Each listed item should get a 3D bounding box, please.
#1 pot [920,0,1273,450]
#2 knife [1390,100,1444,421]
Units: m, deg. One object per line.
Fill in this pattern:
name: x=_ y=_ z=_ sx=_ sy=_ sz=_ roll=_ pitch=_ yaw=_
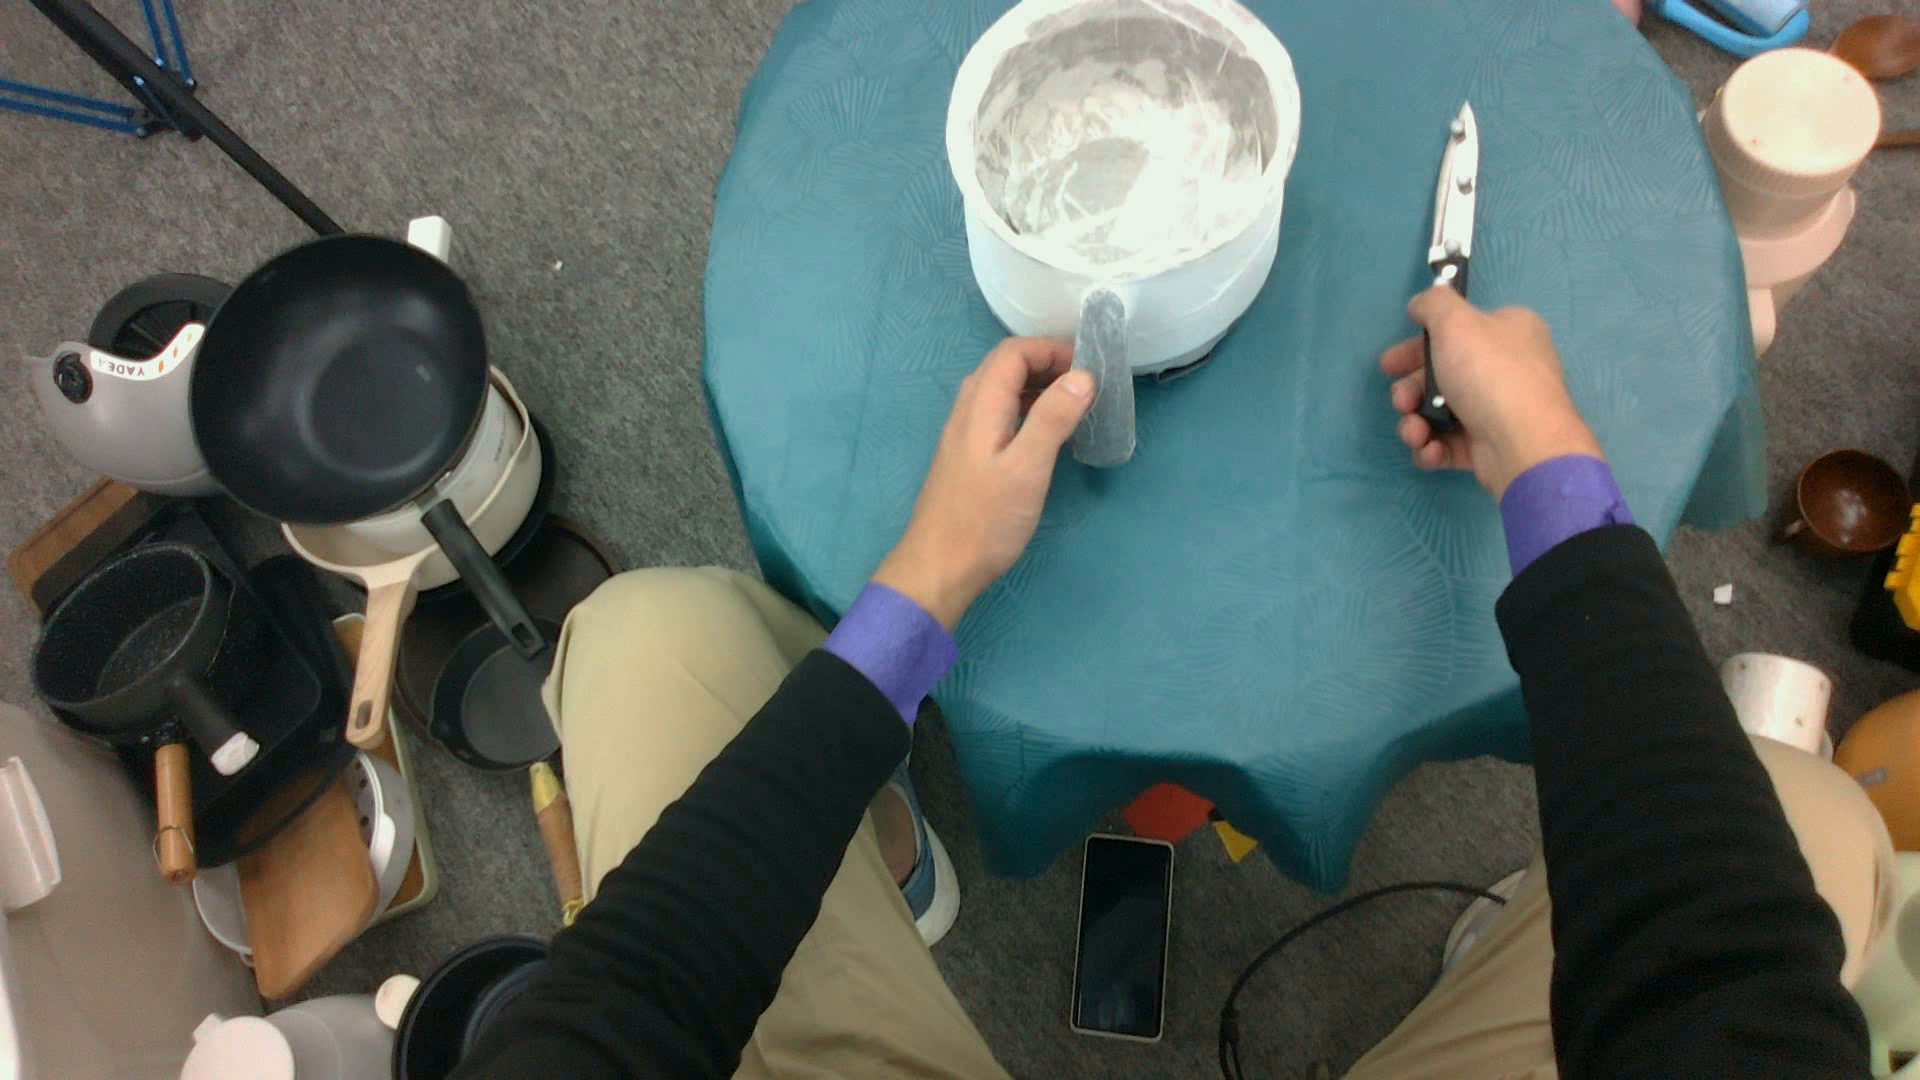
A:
pot: x=0.072 y=-0.172 z=0.746 sx=0.178 sy=0.136 sz=0.234 roll=3 pitch=70 yaw=8
knife: x=0.260 y=-0.166 z=0.776 sx=0.024 sy=0.016 sz=0.239 roll=-8 pitch=54 yaw=34
